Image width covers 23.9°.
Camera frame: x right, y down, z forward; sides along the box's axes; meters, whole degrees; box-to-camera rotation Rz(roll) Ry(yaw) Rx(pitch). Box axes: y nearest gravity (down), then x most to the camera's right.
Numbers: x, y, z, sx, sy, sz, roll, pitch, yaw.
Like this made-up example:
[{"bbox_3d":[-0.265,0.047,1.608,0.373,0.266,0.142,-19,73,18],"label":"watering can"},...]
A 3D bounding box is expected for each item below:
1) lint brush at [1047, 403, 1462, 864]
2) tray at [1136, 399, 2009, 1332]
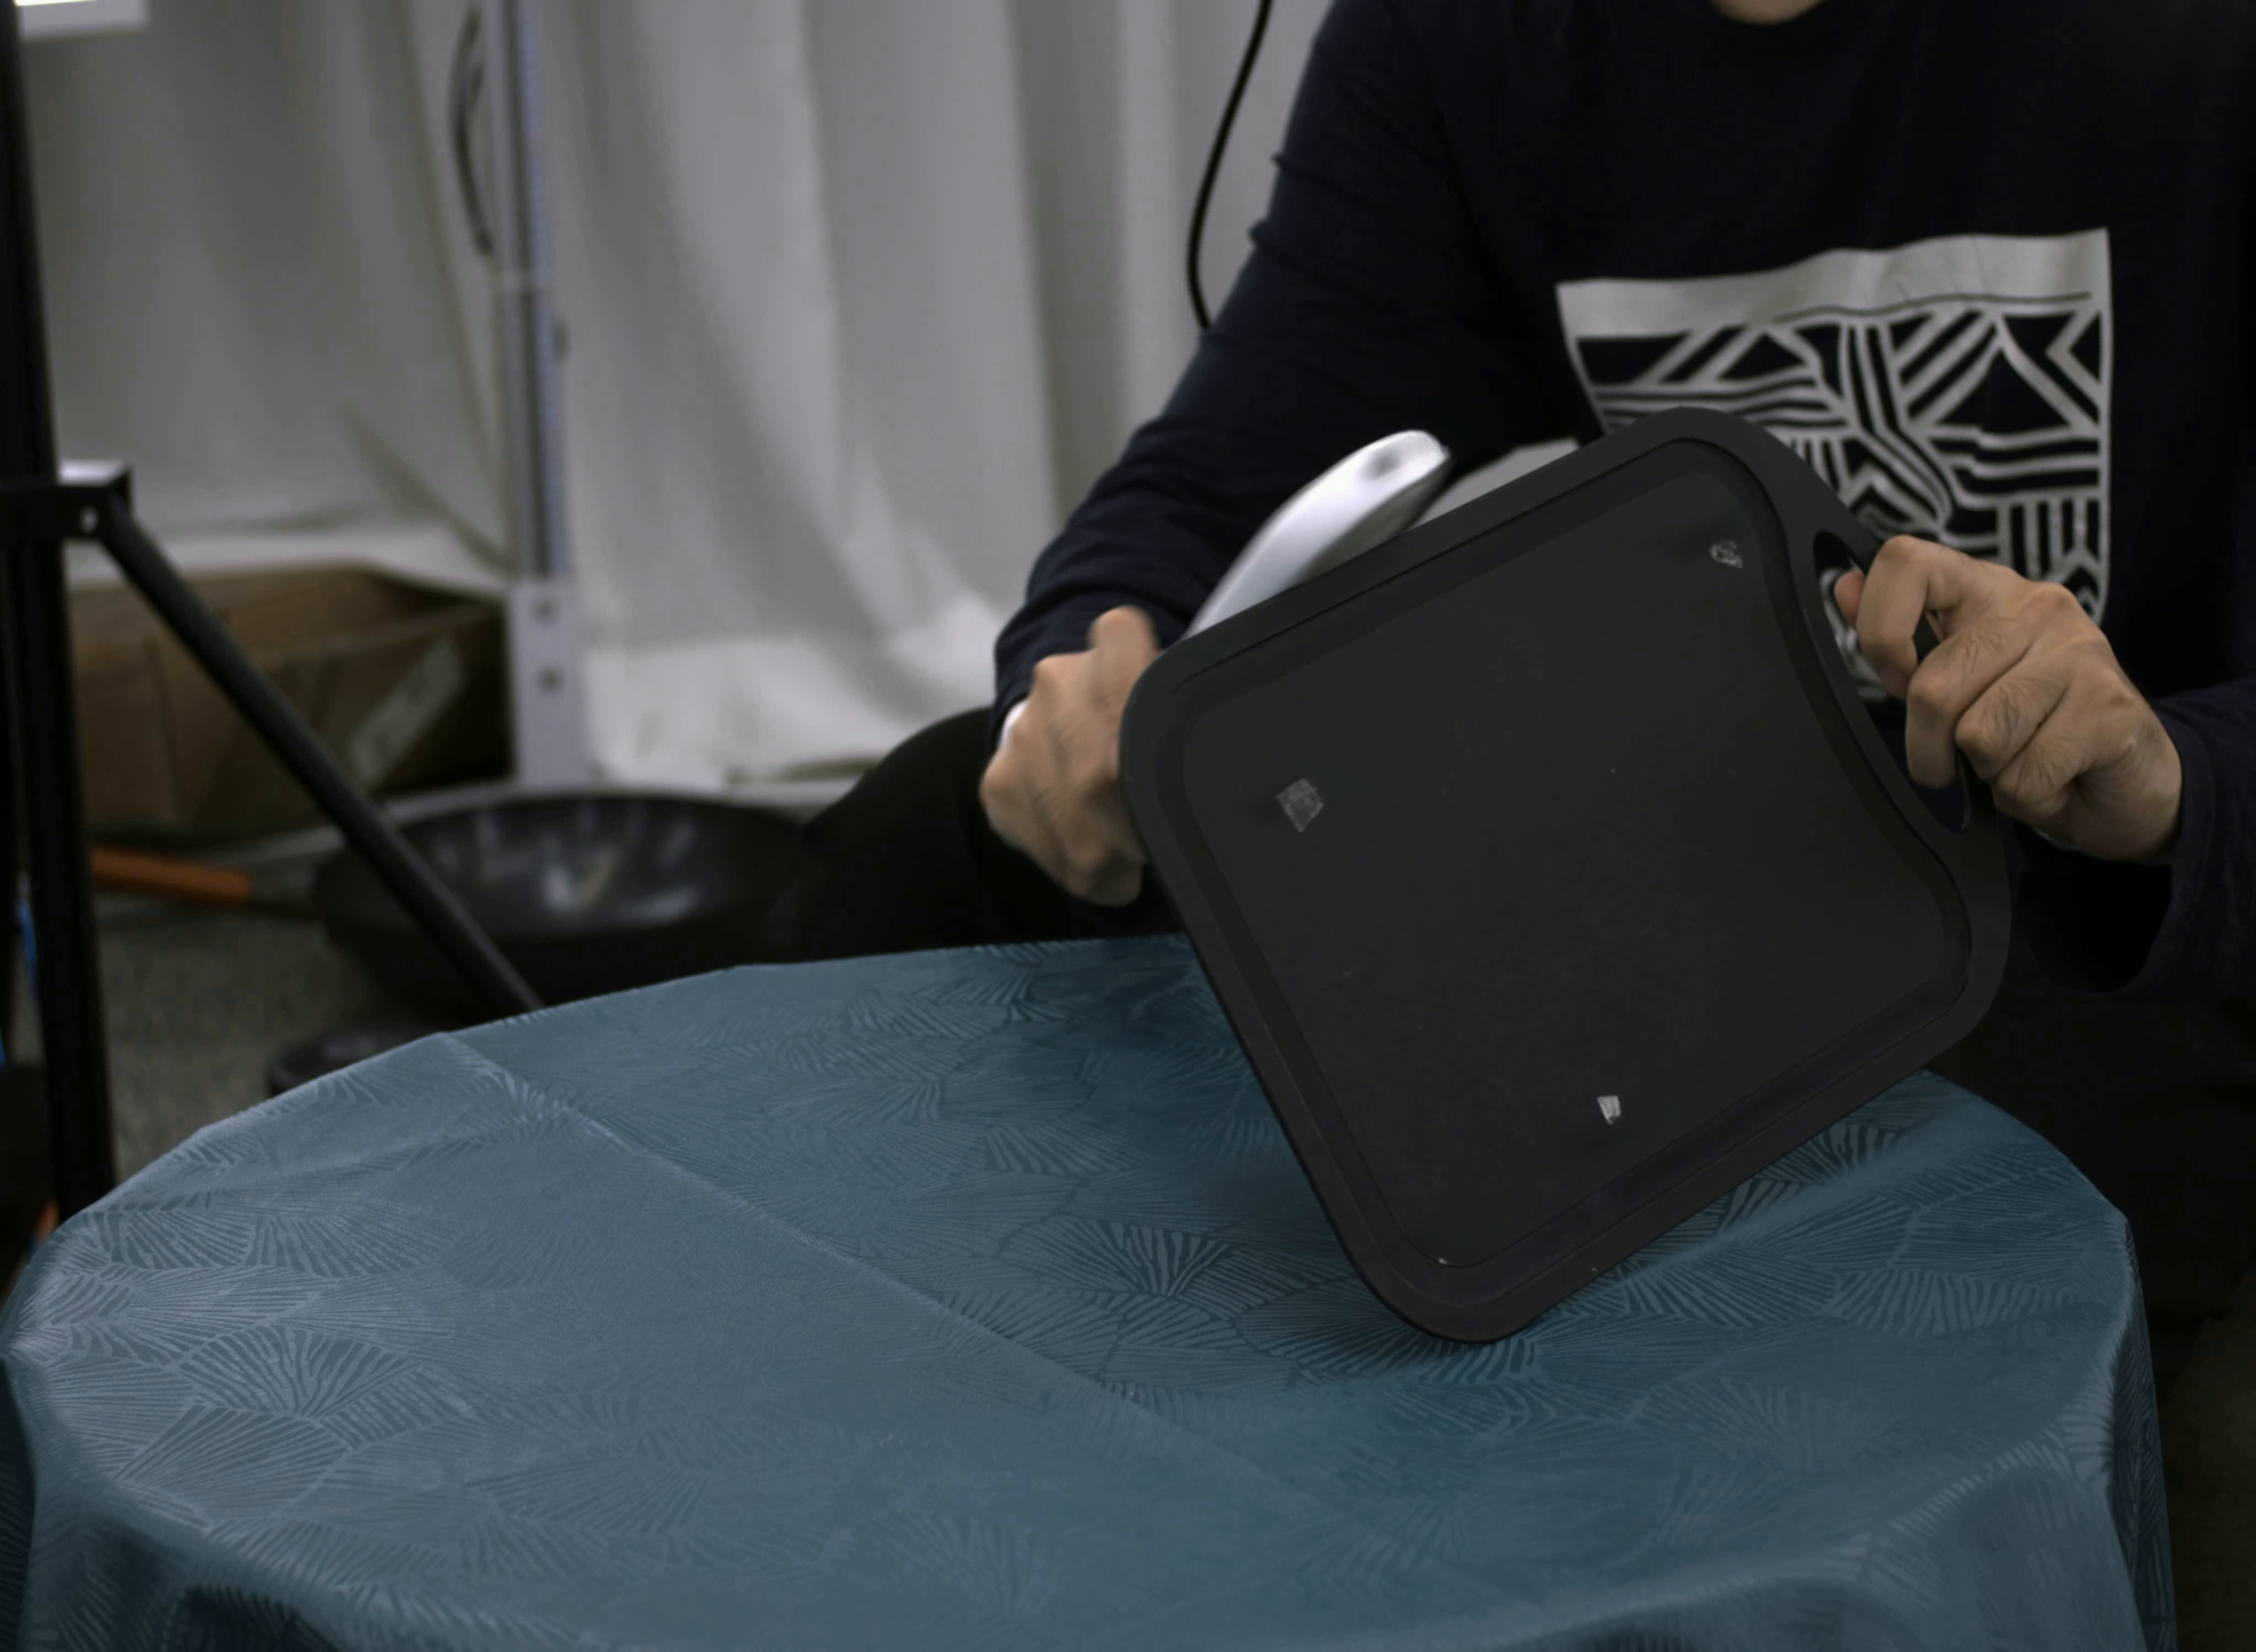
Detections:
[{"bbox_3d":[0.031,-0.051,1.601,0.059,0.021,0.311,-39,-4,-28],"label":"lint brush"},{"bbox_3d":[0.140,0.001,1.515,0.319,0.212,0.010,-25,-1,-41],"label":"tray"}]
